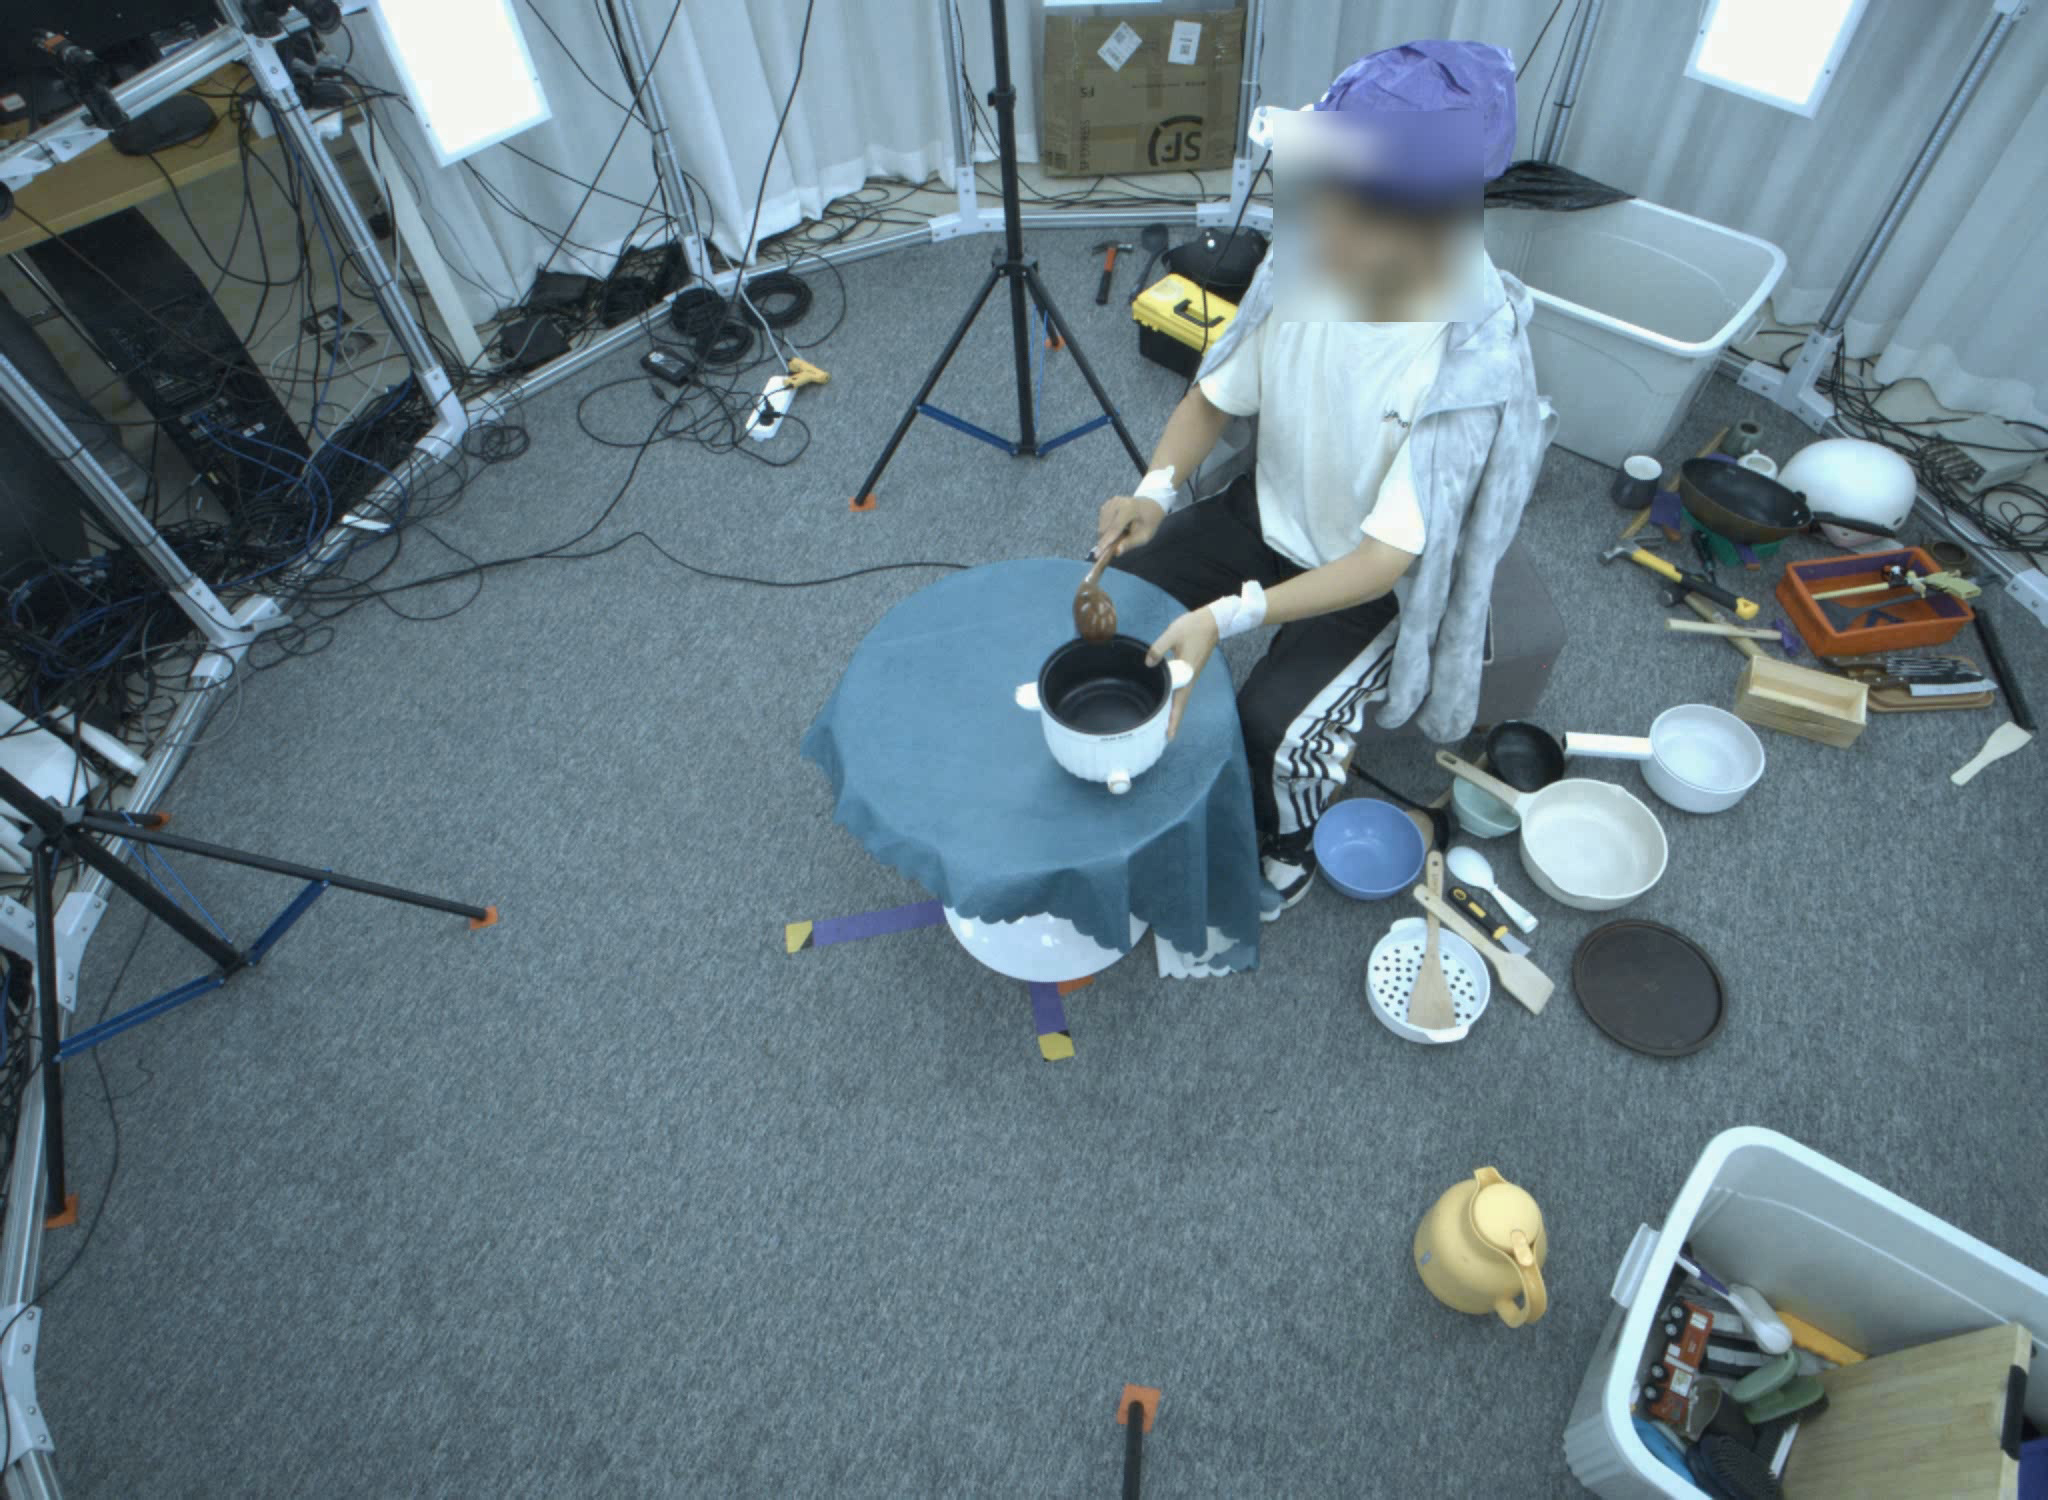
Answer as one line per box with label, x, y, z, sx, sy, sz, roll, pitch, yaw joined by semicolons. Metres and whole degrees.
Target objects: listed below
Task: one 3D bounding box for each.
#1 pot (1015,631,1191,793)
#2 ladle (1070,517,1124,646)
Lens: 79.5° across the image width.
pot;0.115;-0.049;1.697;0.240;0.144;0.187;-10;49;-1
ladle;0.128;-0.247;1.740;0.076;0.082;0.274;28;44;1
